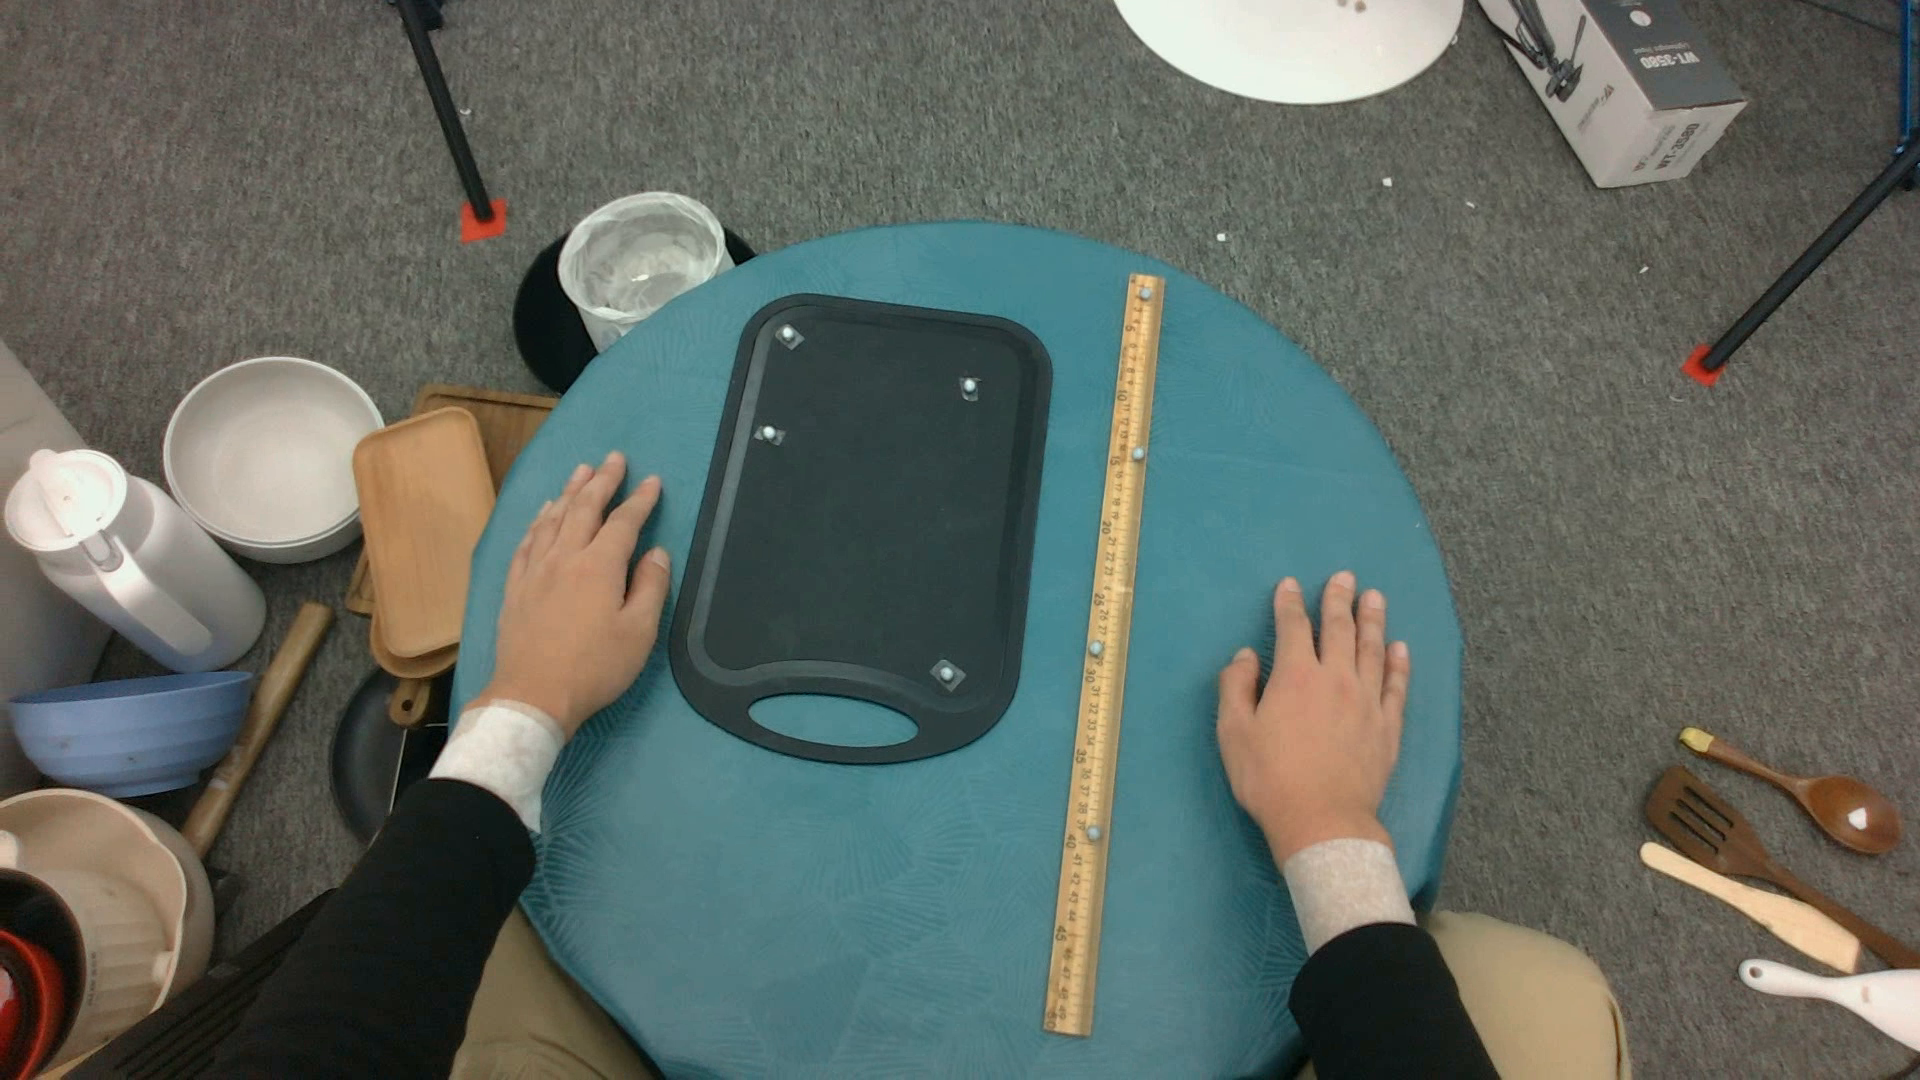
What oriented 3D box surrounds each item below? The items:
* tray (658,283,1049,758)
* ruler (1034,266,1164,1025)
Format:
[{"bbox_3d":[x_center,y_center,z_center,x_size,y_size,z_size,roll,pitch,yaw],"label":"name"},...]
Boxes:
[{"bbox_3d":[-0.060,-0.022,0.855,0.211,0.010,0.326,8,63,1],"label":"tray"},{"bbox_3d":[0.089,0.033,0.835,0.027,0.006,0.502,8,63,3],"label":"ruler"}]
